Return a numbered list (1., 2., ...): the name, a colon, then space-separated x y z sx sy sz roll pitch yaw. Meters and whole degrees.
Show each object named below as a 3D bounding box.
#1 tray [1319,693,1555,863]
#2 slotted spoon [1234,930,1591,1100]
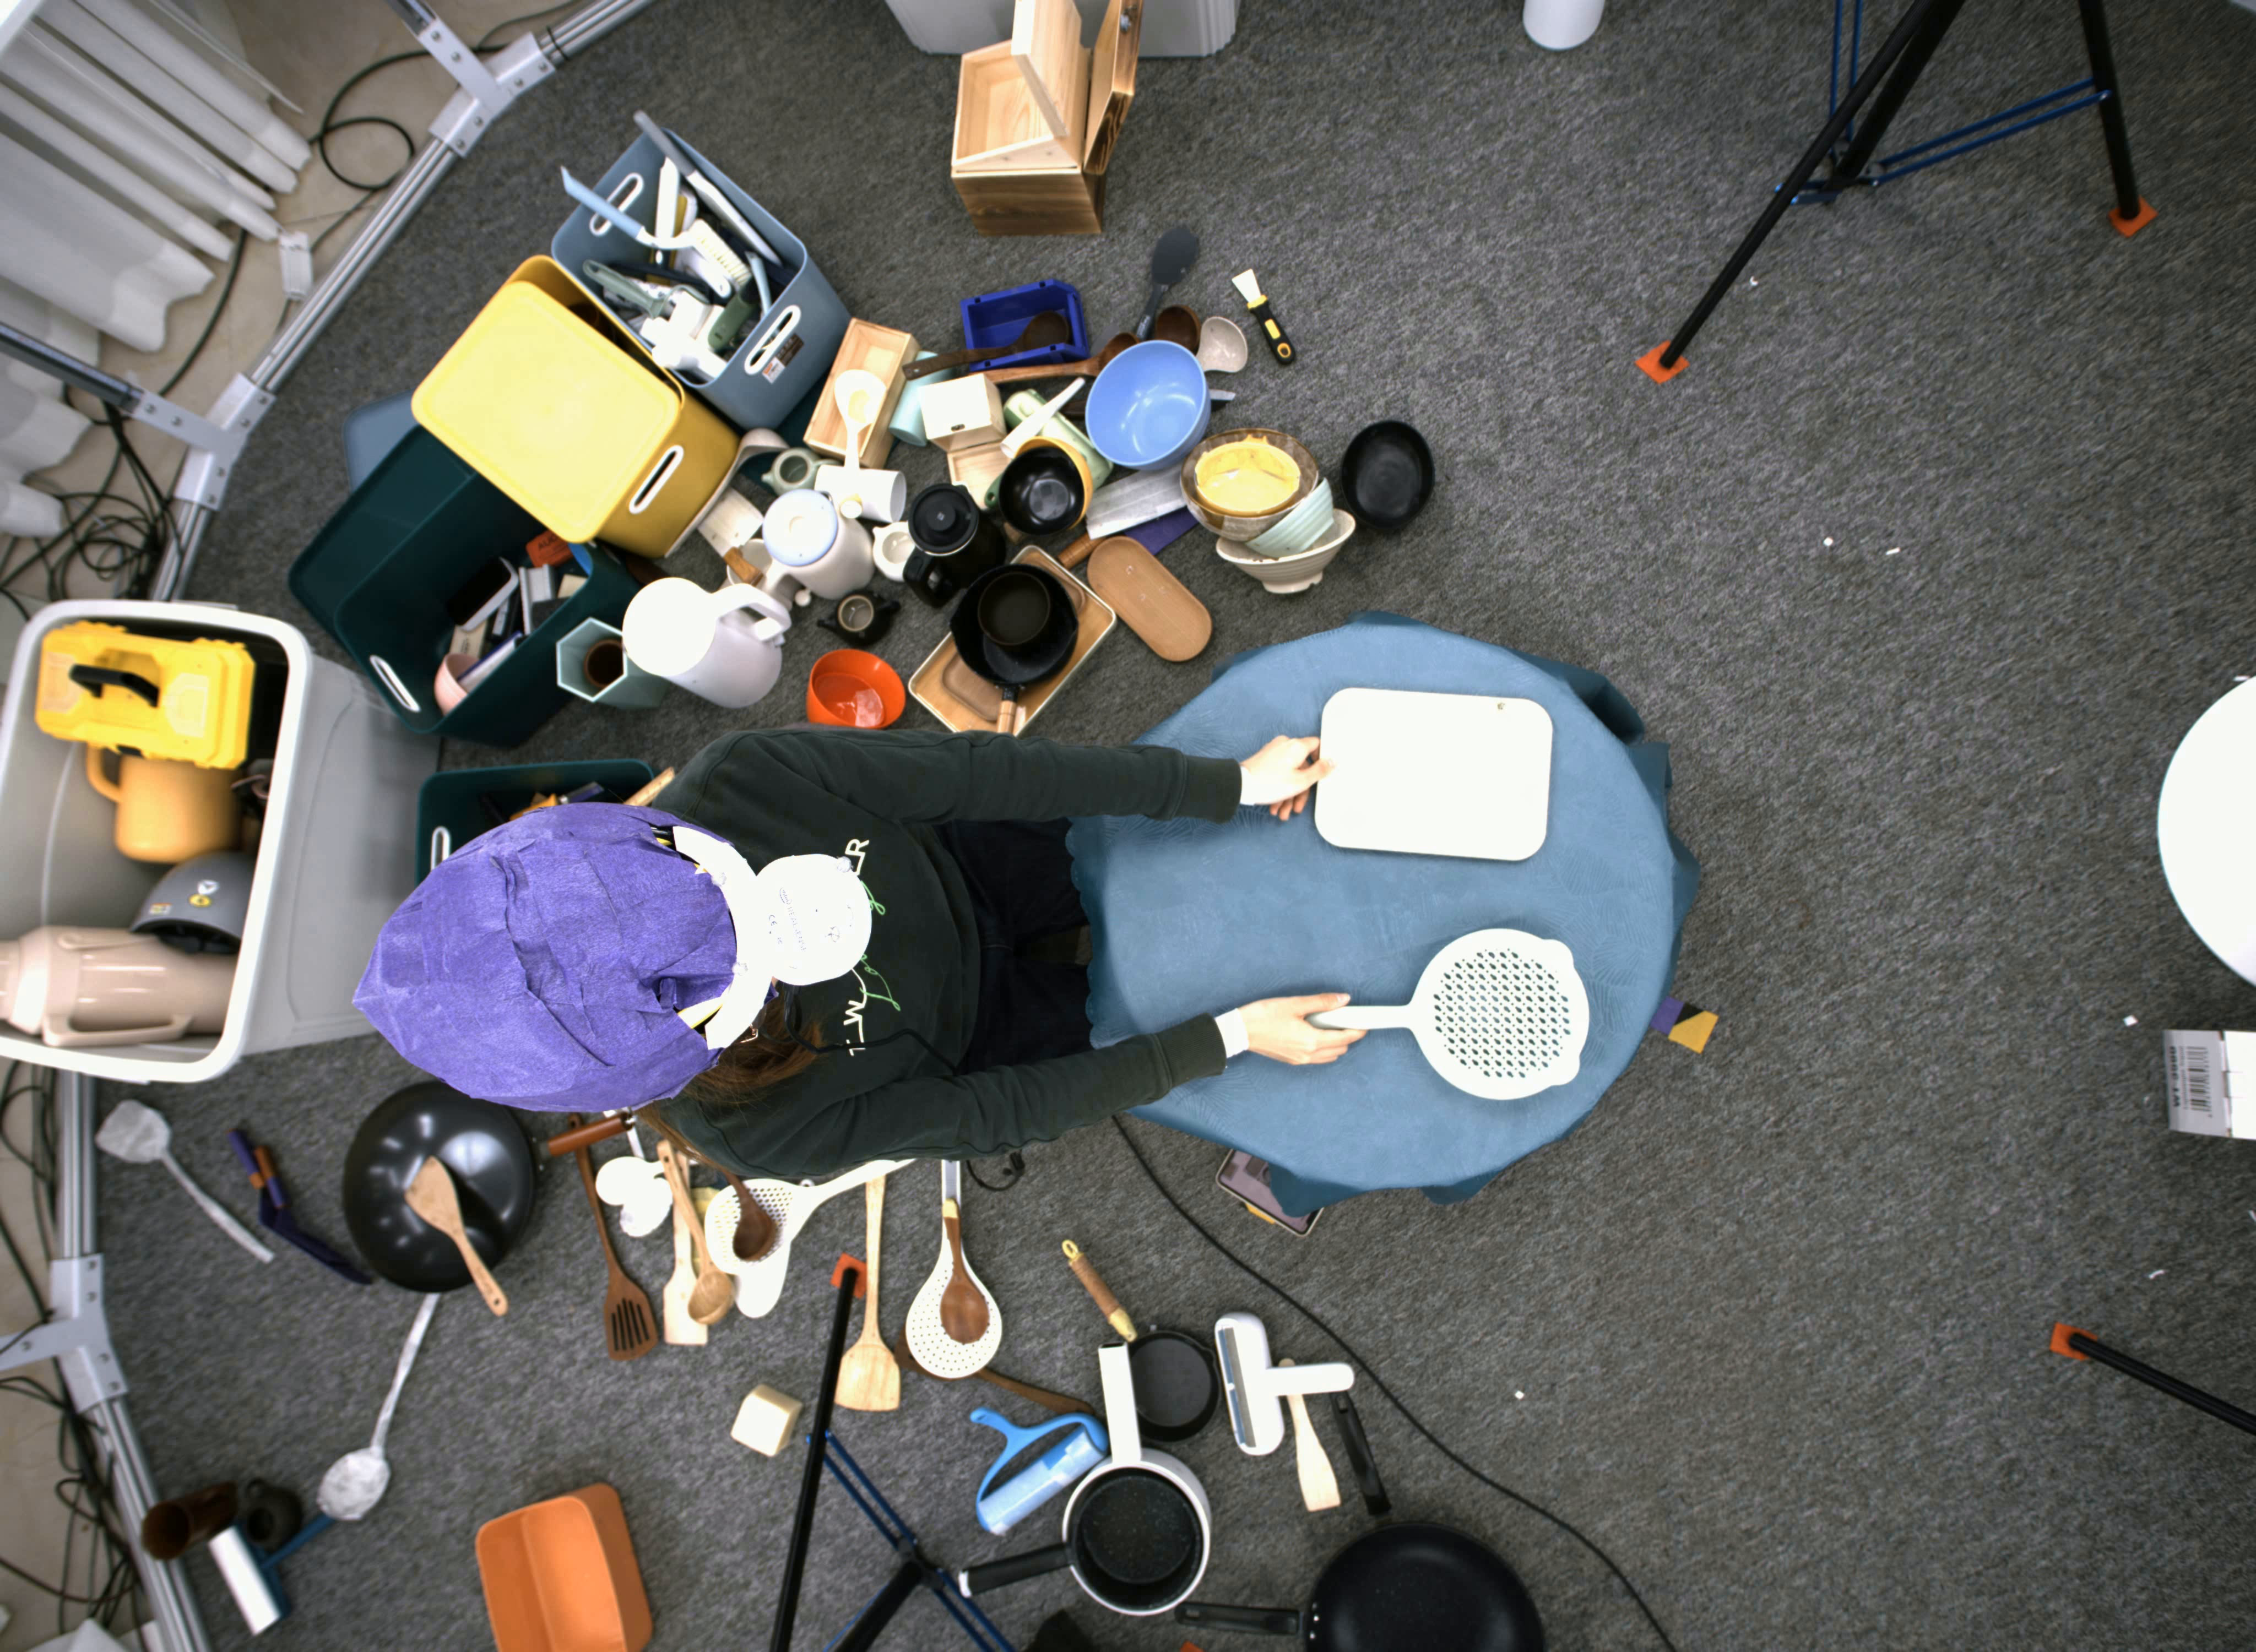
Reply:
1. tray: 0.325 -0.053 1.451 0.240 0.017 0.170 4 87 9
2. slotted spoon: 0.285 0.195 1.420 0.360 0.076 0.168 -2 81 10
